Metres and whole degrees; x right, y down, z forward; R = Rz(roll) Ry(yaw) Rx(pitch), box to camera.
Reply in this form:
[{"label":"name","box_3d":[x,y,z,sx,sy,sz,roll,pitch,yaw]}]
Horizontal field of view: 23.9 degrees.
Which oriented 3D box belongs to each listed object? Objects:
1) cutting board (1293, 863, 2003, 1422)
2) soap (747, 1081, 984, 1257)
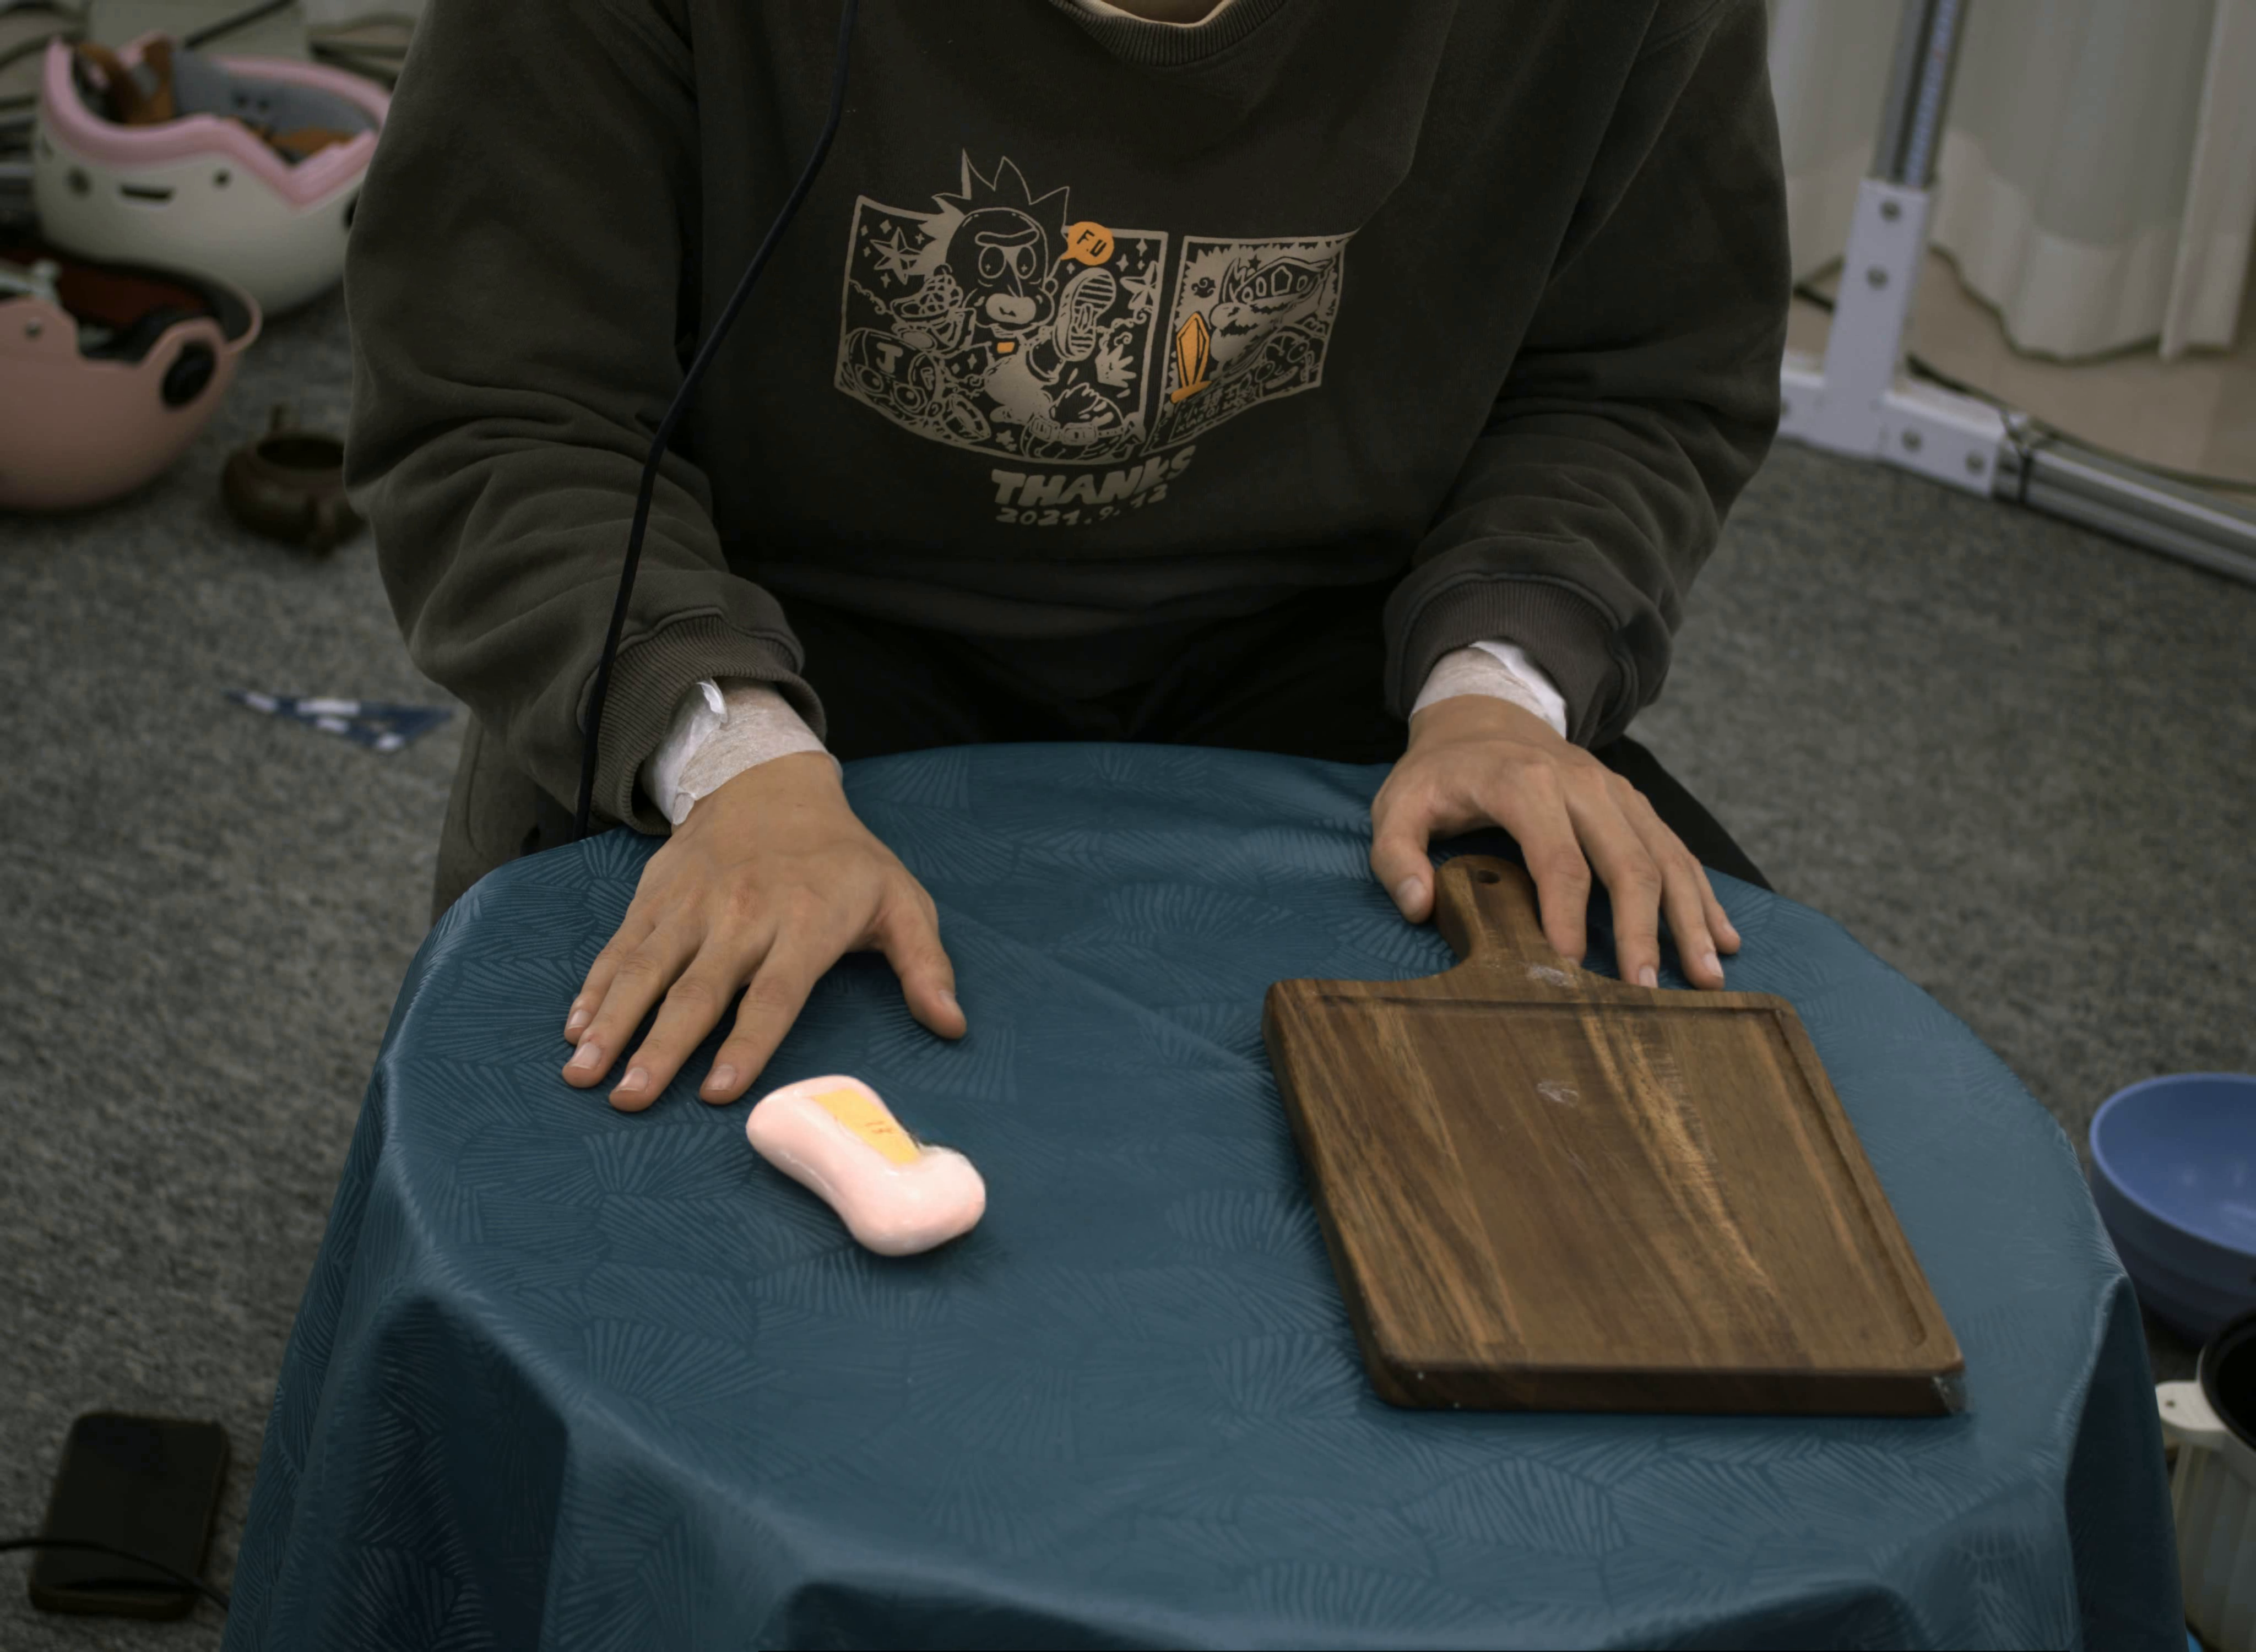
[{"label":"cutting board","box_3d":[0.166,0.103,1.859,0.200,0.023,0.355,2,27,-8]},{"label":"soap","box_3d":[-0.088,0.114,1.773,0.050,0.030,0.095,-11,30,-33]}]
